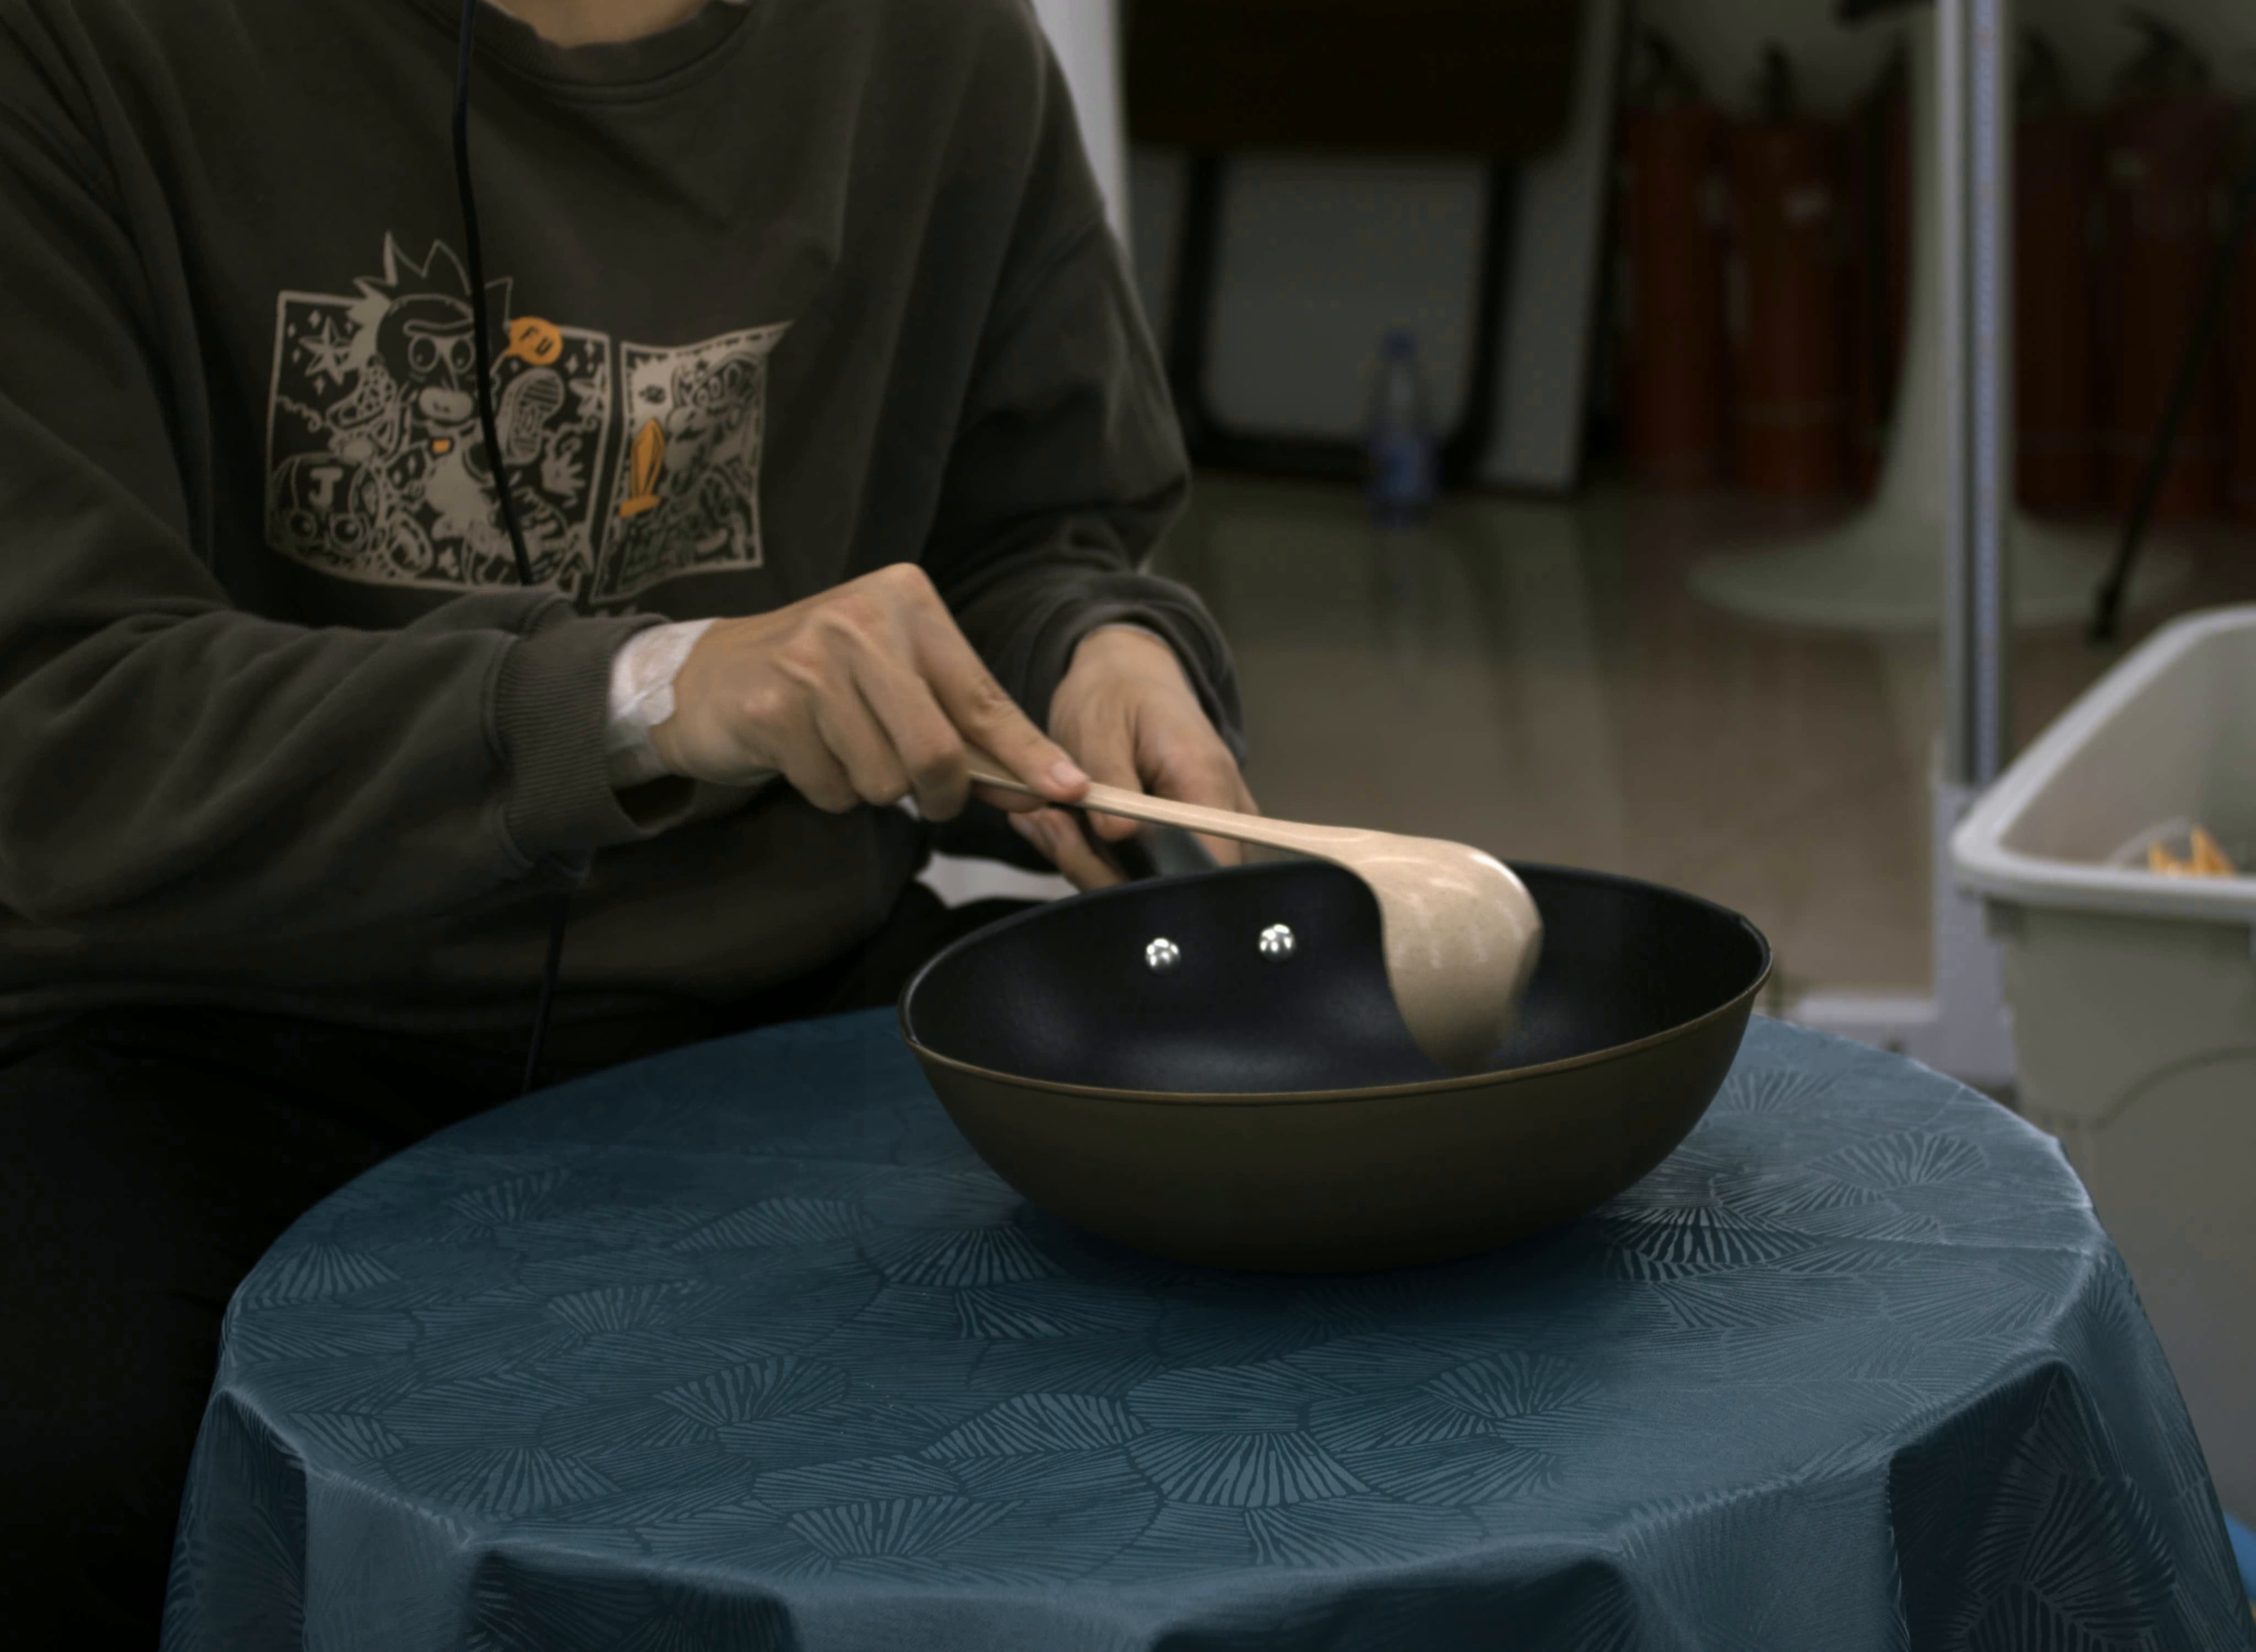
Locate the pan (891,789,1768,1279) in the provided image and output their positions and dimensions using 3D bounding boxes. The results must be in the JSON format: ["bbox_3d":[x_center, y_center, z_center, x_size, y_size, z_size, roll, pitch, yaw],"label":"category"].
[{"bbox_3d":[0.041,0.067,1.817,0.282,0.088,0.467,-8,13,-14],"label":"pan"}]

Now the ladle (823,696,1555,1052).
[{"bbox_3d":[0.015,0.018,1.752,0.254,0.073,0.071,14,38,21],"label":"ladle"}]
